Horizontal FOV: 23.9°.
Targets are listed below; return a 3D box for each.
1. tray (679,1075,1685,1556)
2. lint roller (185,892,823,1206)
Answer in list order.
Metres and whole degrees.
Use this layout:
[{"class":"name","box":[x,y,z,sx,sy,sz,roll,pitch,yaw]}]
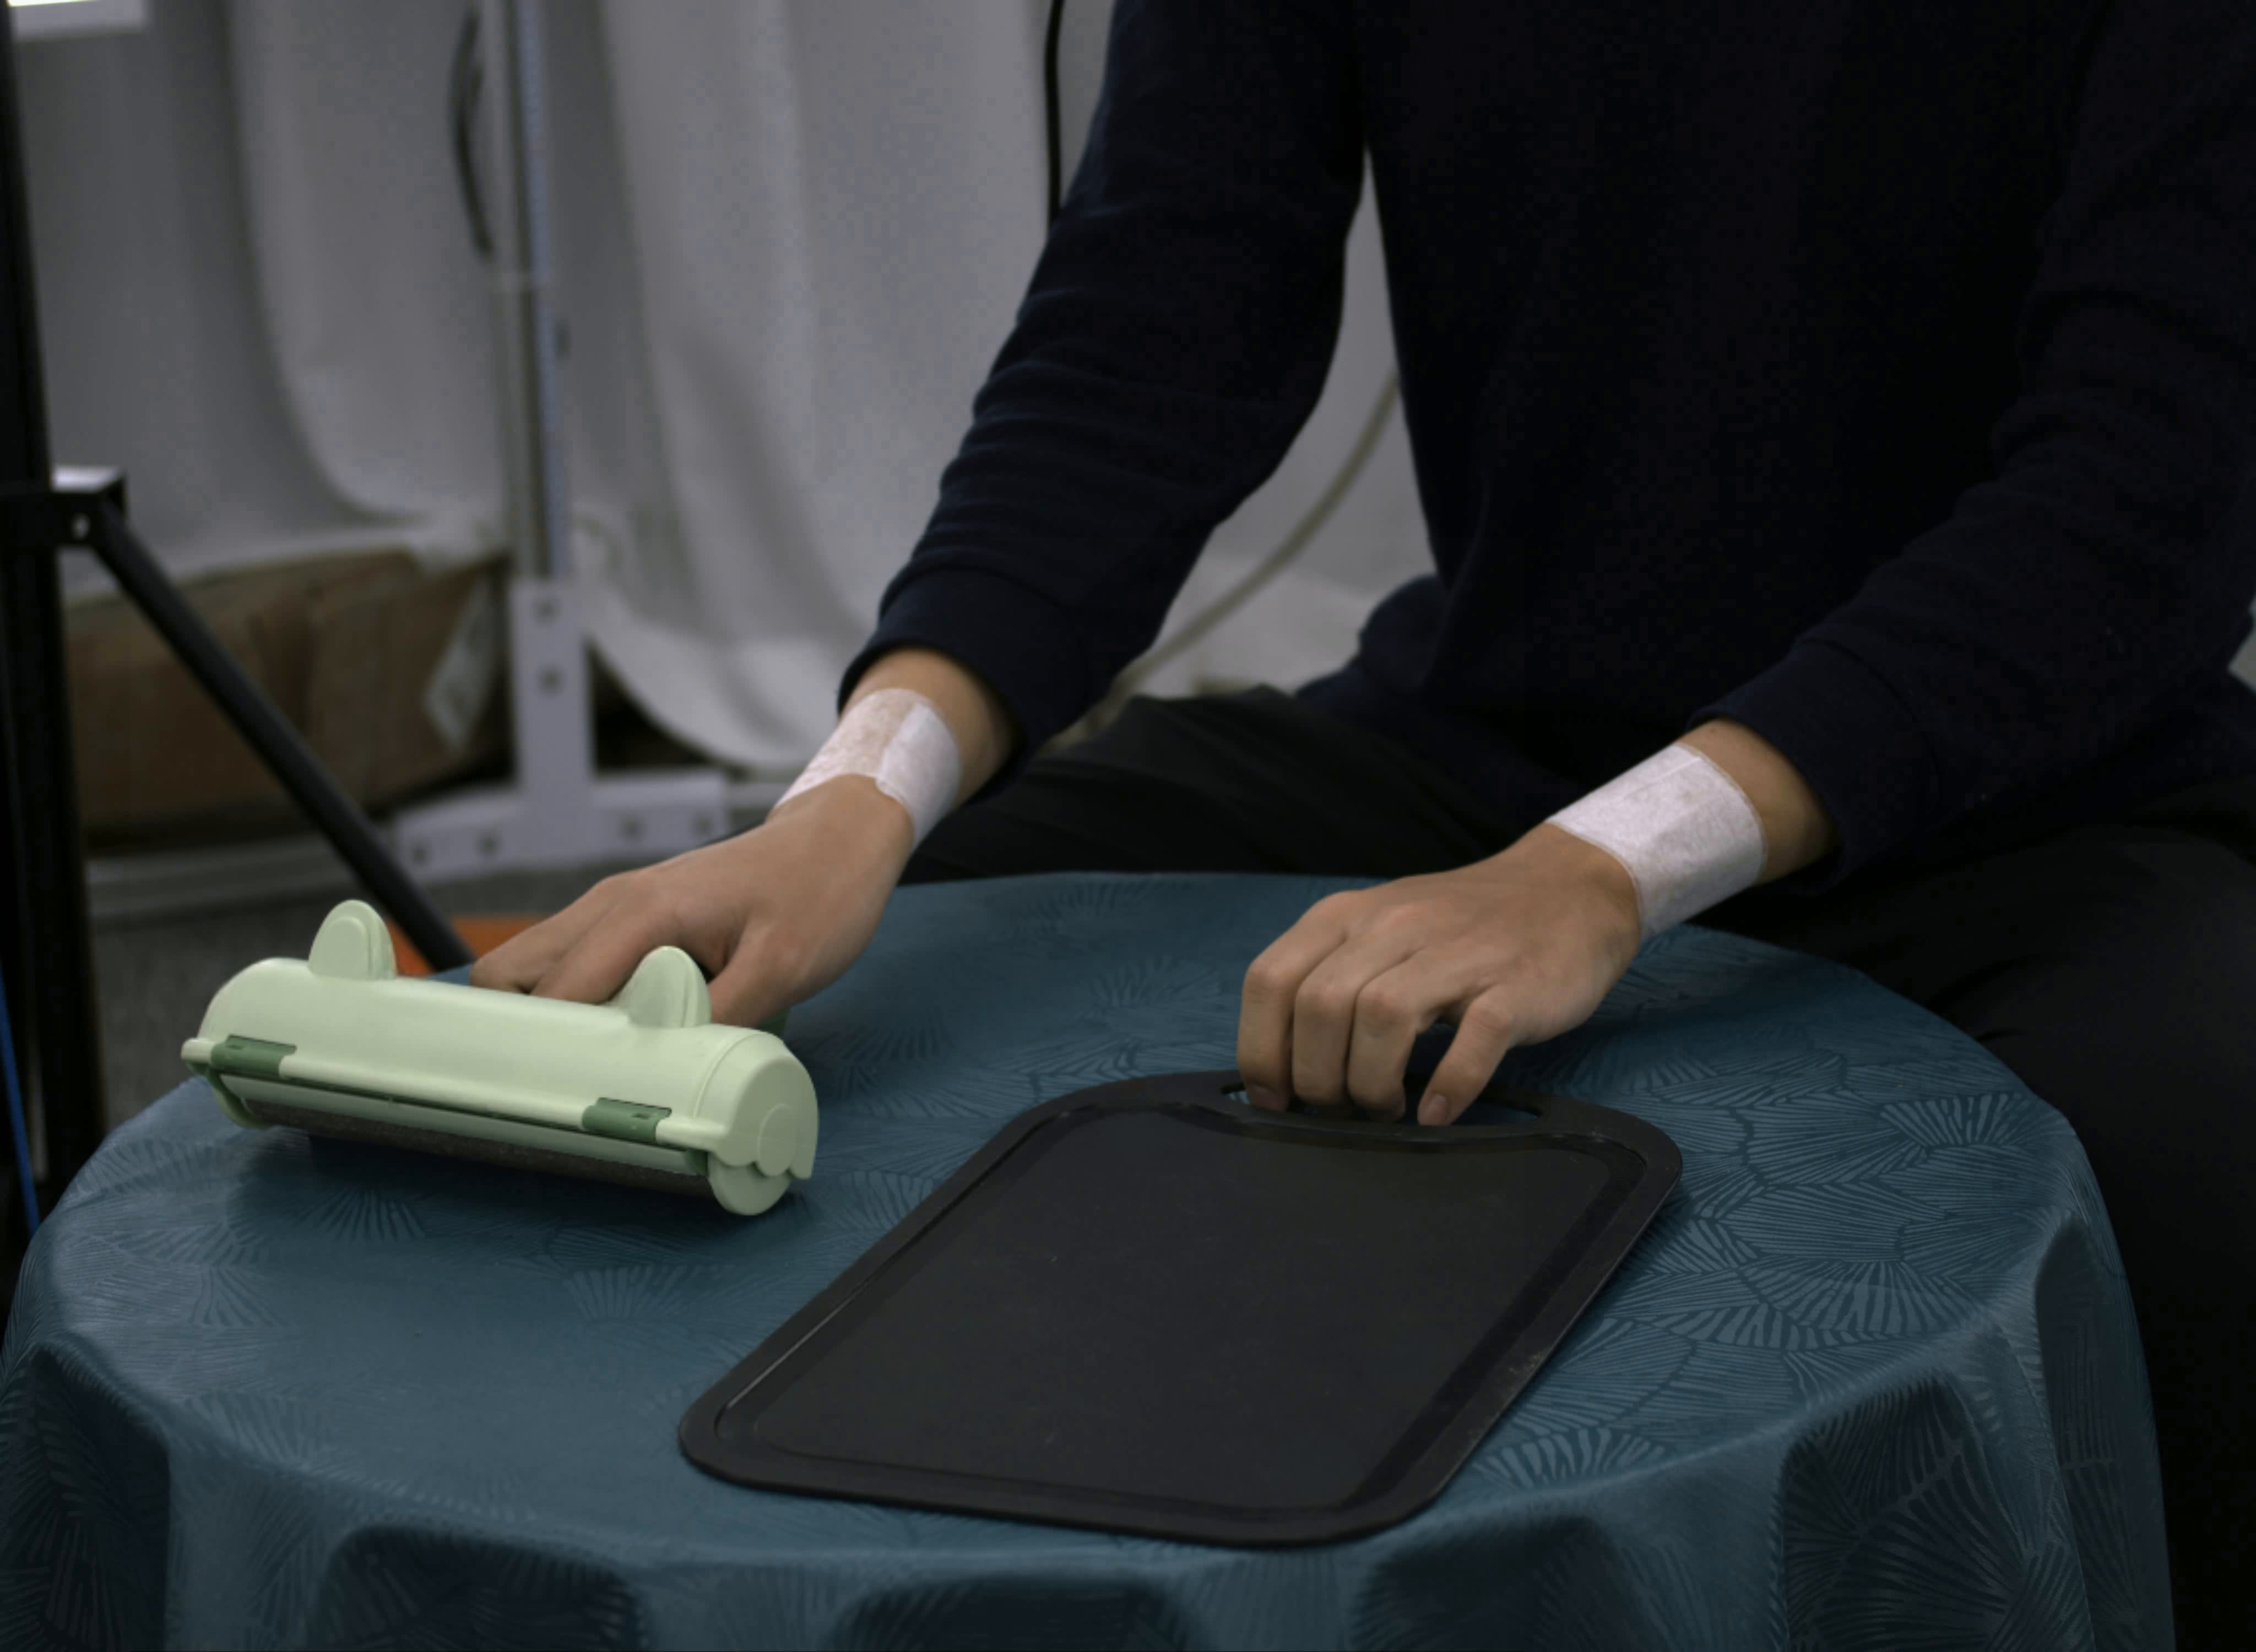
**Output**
[{"class":"tray","box":[0.024,0.125,1.470,0.214,0.010,0.321,4,19,23]},{"class":"lint roller","box":[-0.160,0.049,1.637,0.202,0.082,0.180,7,25,29]}]
